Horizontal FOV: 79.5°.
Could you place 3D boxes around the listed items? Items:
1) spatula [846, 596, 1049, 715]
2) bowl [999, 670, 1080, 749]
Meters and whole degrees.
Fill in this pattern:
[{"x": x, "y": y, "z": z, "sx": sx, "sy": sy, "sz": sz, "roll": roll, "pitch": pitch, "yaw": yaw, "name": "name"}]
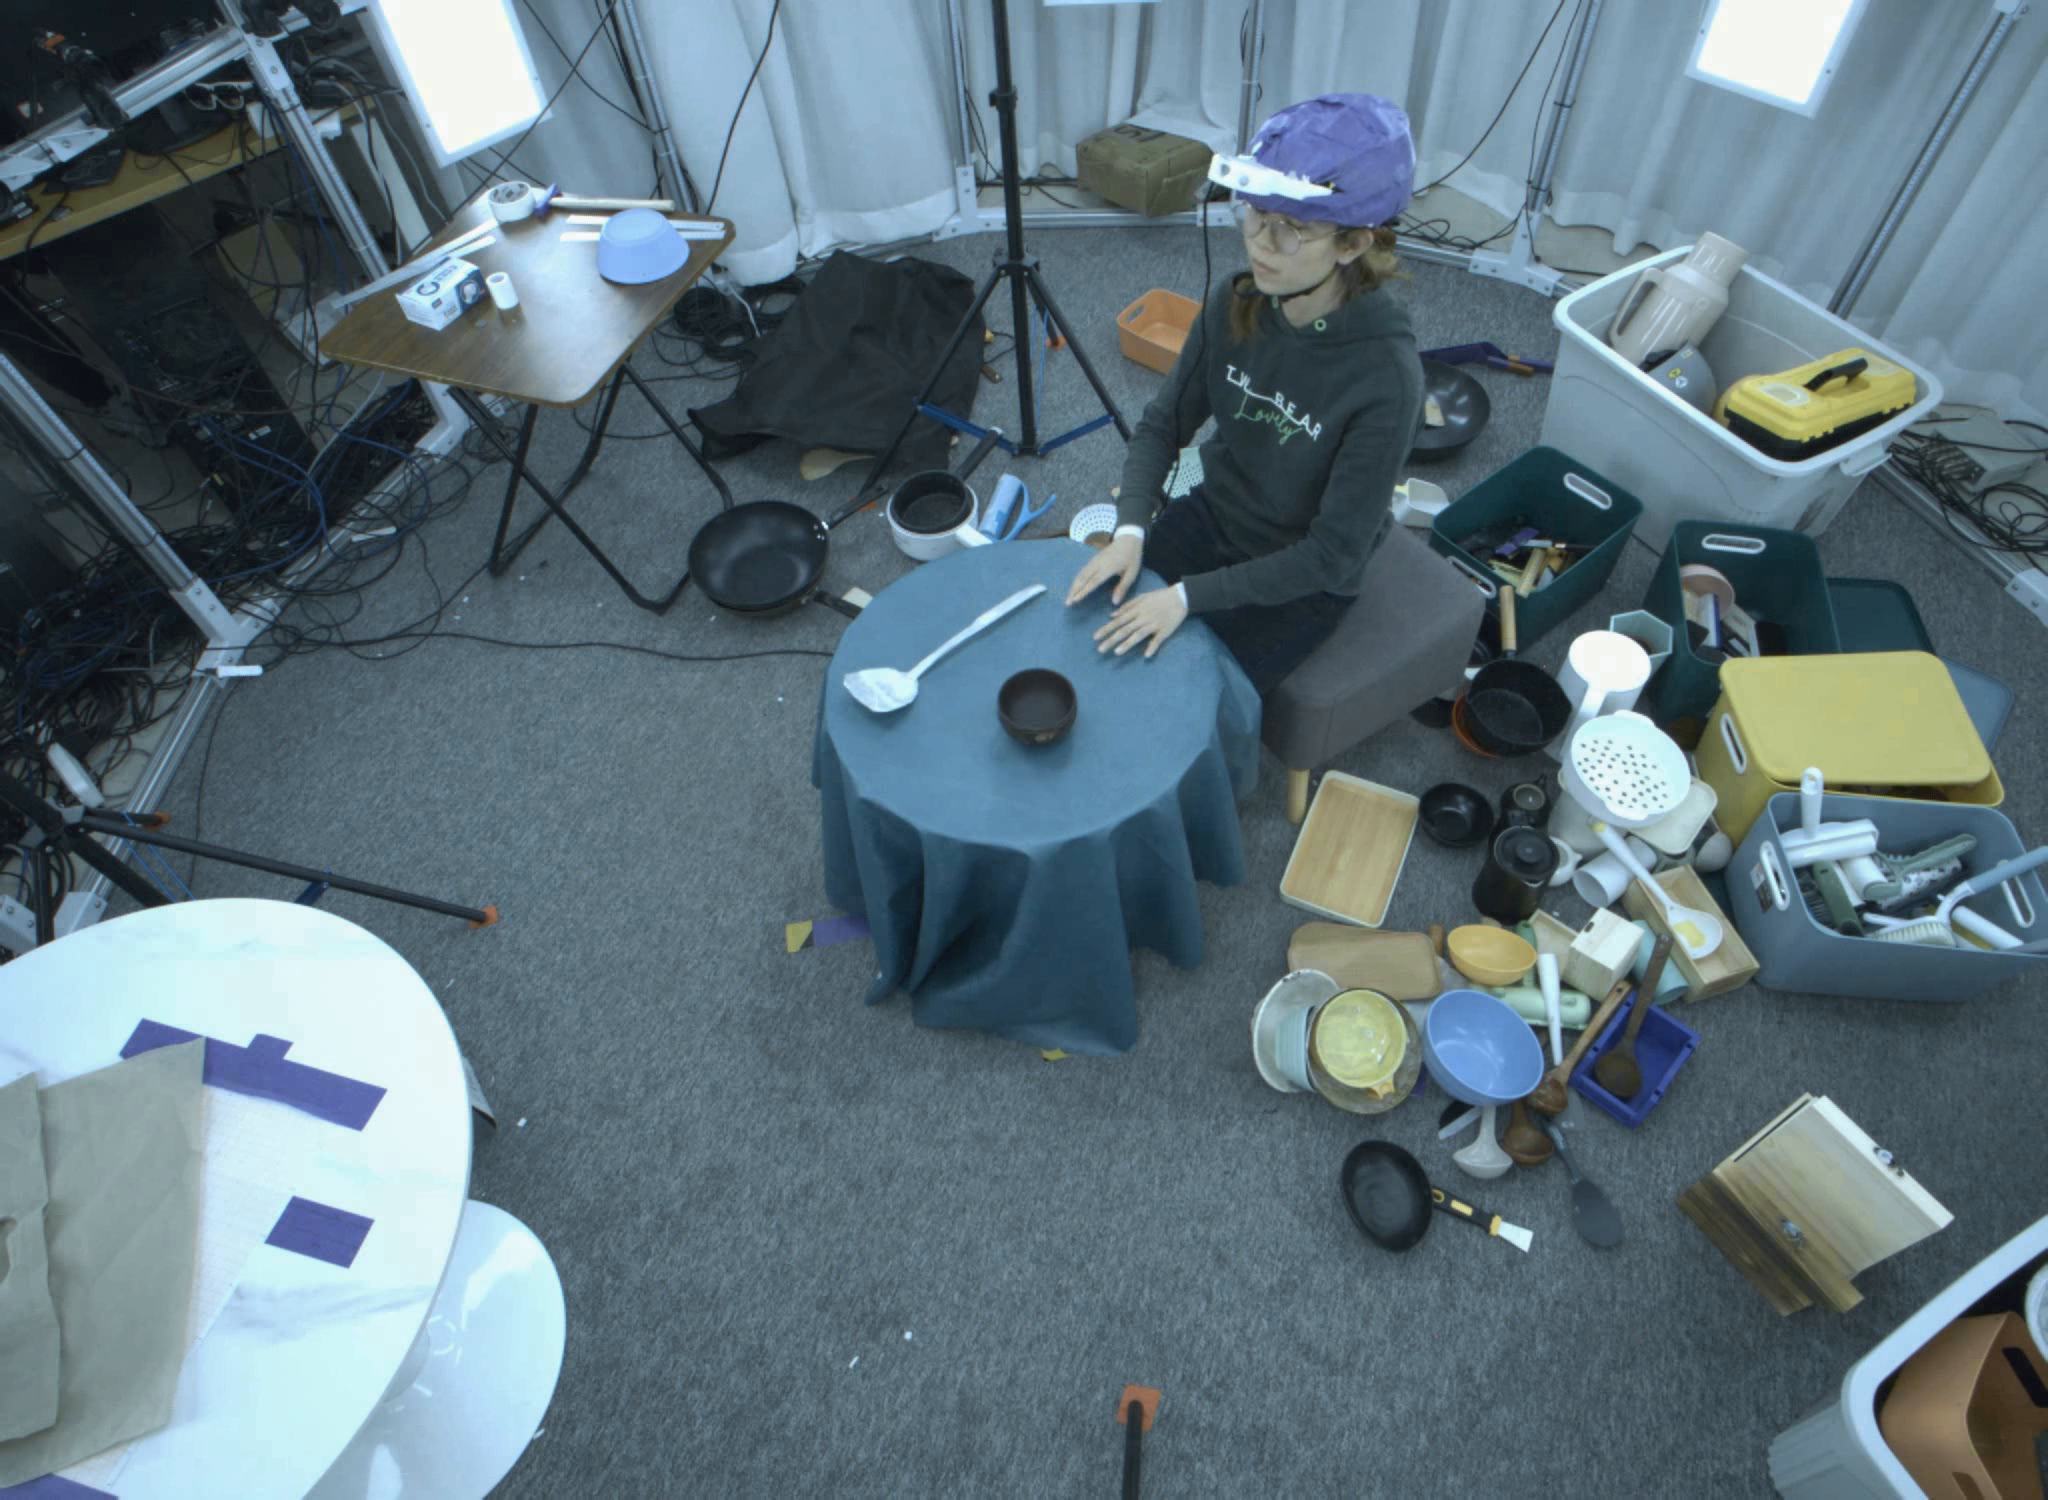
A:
[{"x": -0.108, "y": -0.160, "z": 1.890, "sx": 0.367, "sy": 0.045, "sz": 0.097, "roll": -36, "pitch": 59, "yaw": -21, "name": "spatula"}, {"x": 0.022, "y": -0.051, "z": 1.789, "sx": 0.118, "sy": 0.070, "sz": 0.117, "roll": 0, "pitch": 55, "yaw": 1, "name": "bowl"}]
